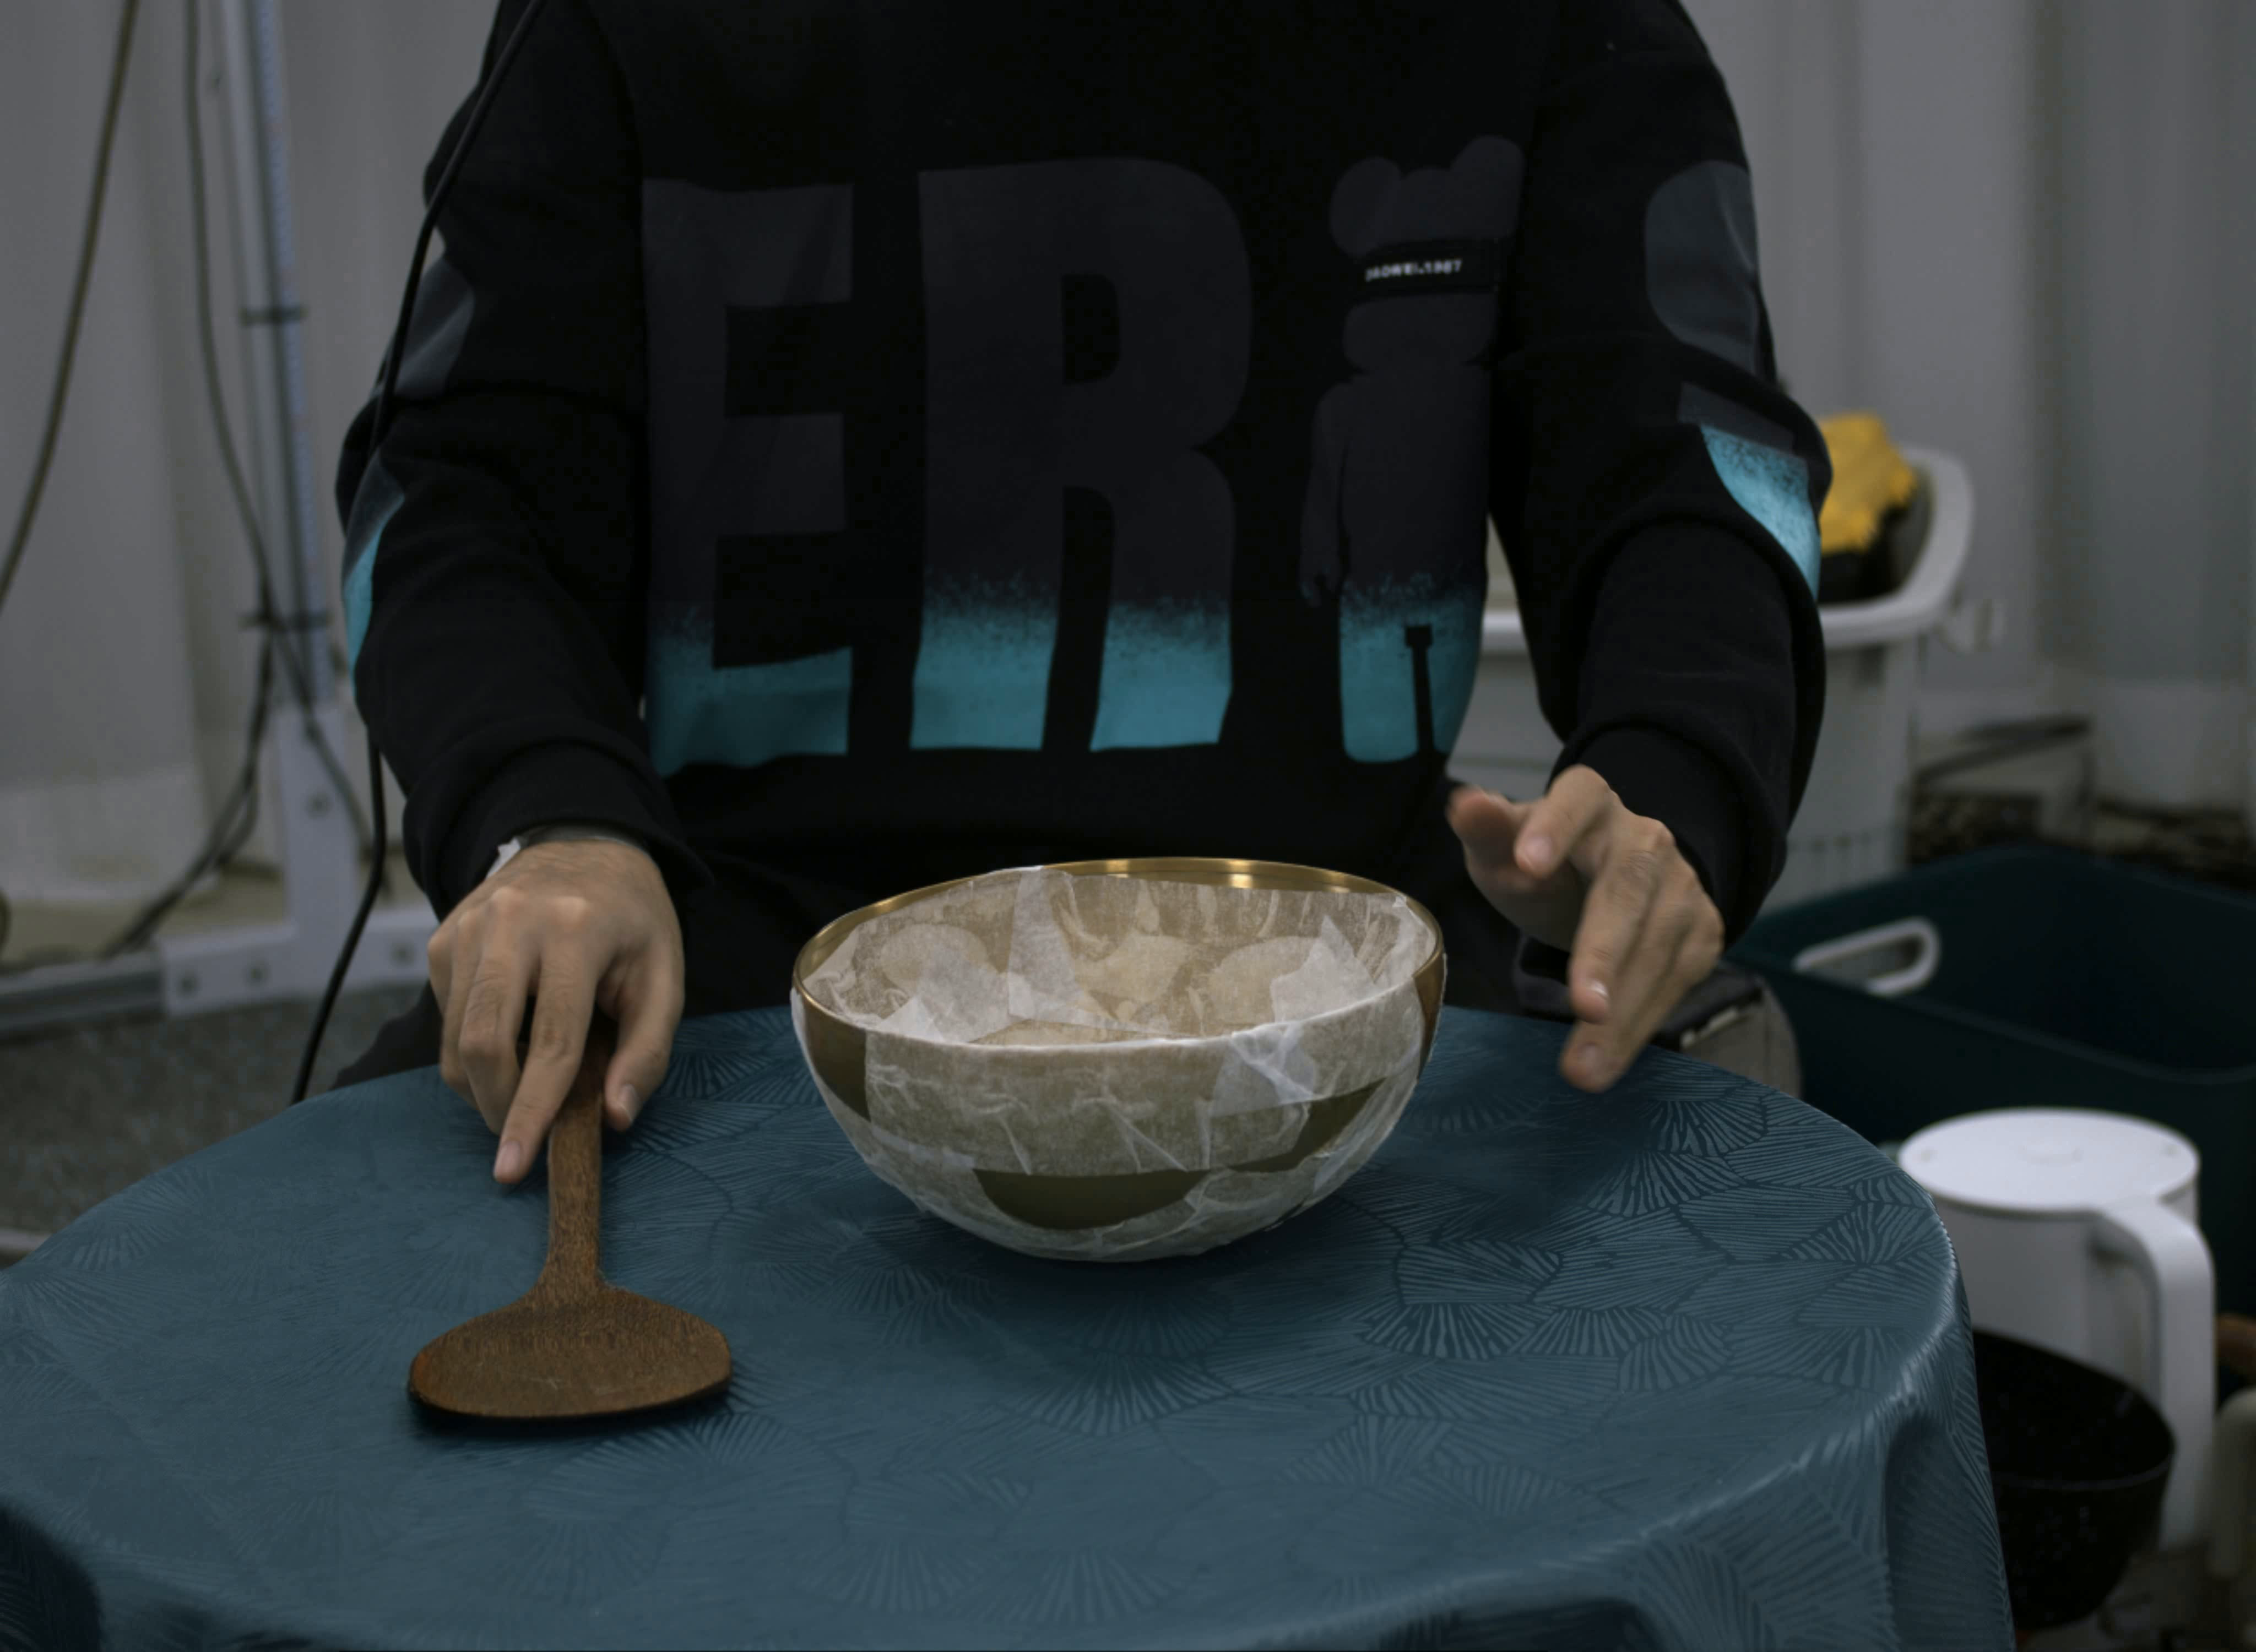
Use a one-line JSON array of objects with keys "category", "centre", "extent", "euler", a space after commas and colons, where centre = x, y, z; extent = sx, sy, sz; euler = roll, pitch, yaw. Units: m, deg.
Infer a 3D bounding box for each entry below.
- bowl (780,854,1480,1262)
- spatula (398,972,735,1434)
[{"category": "bowl", "centre": [0.001, 0.078, 1.672], "extent": [0.214, 0.094, 0.216], "euler": [-4, 14, 1]}, {"category": "spatula", "centre": [-0.175, 0.110, 1.711], "extent": [0.096, 0.015, 0.389], "euler": [-4, 18, -4]}]
